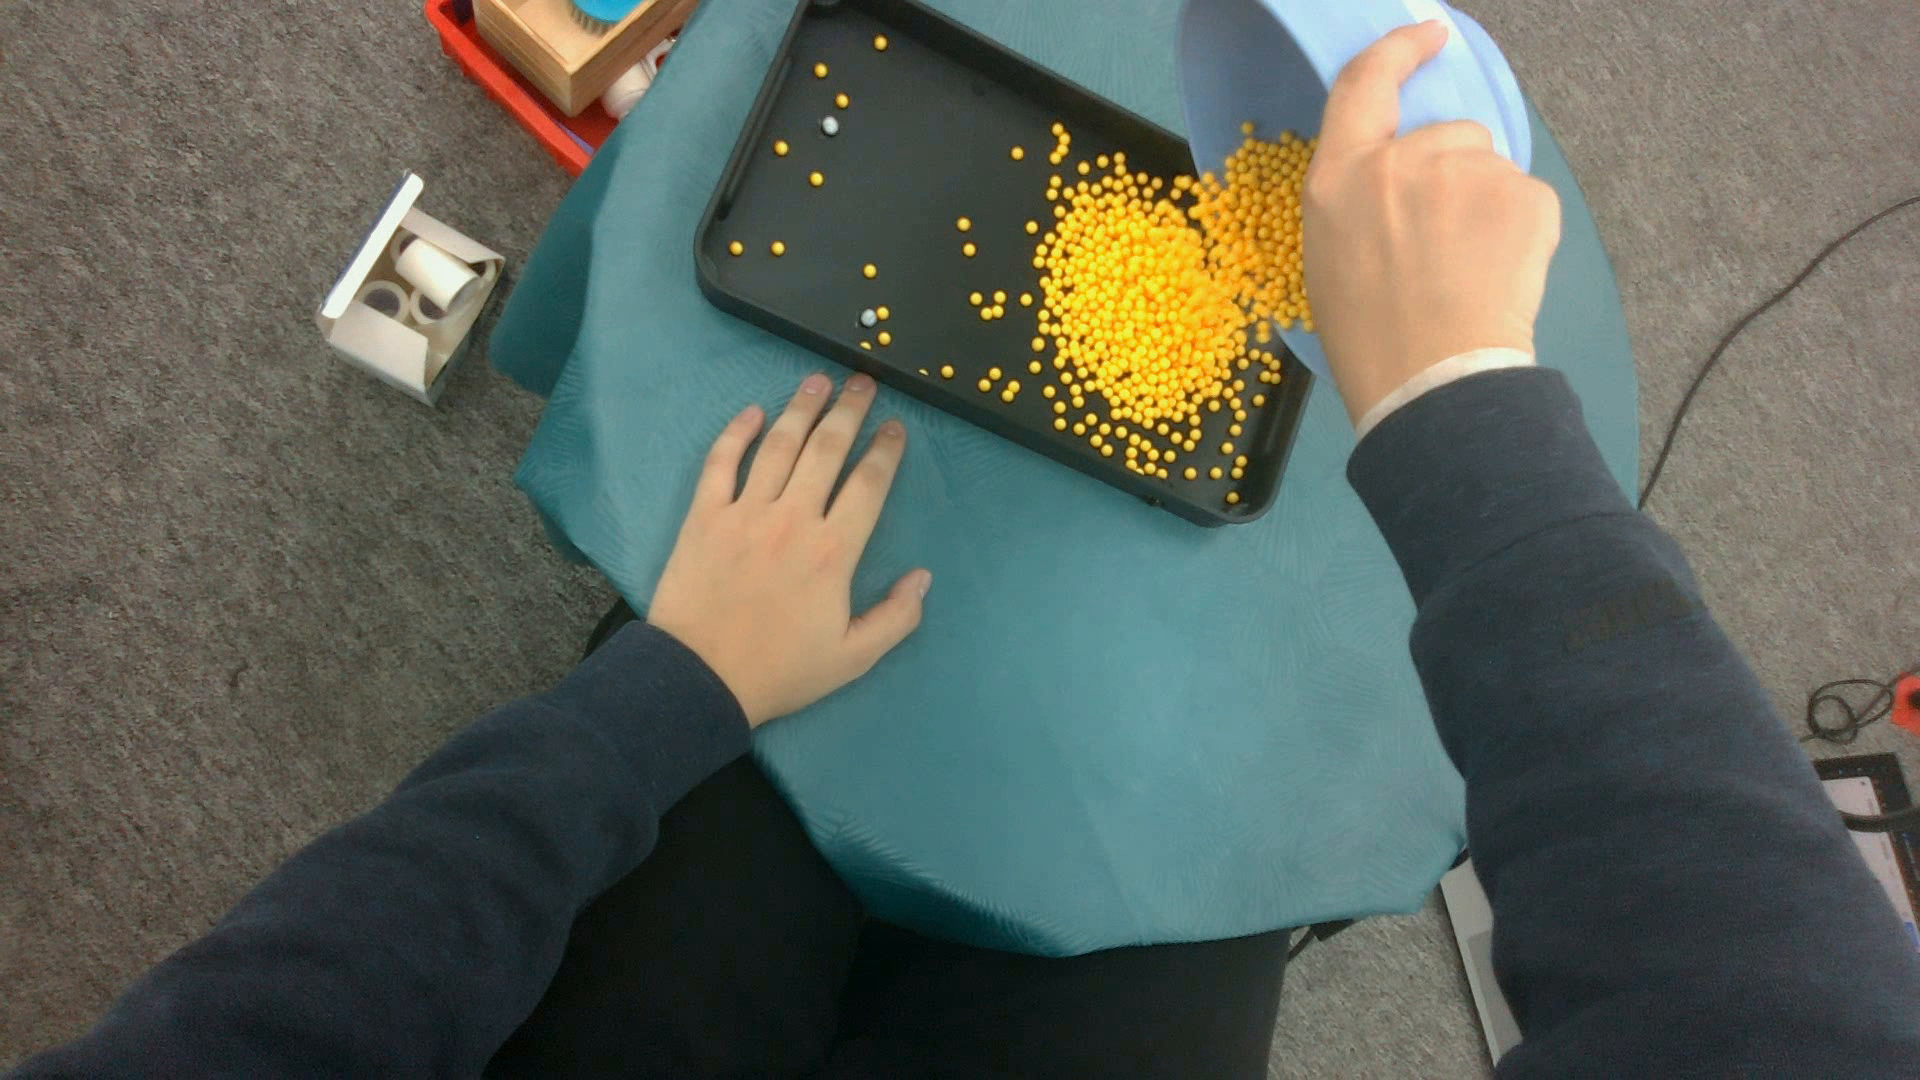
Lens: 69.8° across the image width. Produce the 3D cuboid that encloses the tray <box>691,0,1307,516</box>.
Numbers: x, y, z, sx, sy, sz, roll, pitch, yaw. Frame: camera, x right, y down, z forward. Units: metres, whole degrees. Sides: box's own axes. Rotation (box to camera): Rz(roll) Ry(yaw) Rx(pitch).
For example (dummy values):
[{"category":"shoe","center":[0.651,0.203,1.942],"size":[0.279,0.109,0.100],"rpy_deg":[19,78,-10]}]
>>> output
[{"category":"tray","center":[0.035,-0.145,0.721],"size":[0.318,0.037,0.184],"rpy_deg":[21,77,-11]}]

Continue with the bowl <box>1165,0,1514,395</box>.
[{"category":"bowl","center":[0.180,-0.173,0.620],"size":[0.095,0.196,0.196],"rpy_deg":[-27,88,-1]}]
